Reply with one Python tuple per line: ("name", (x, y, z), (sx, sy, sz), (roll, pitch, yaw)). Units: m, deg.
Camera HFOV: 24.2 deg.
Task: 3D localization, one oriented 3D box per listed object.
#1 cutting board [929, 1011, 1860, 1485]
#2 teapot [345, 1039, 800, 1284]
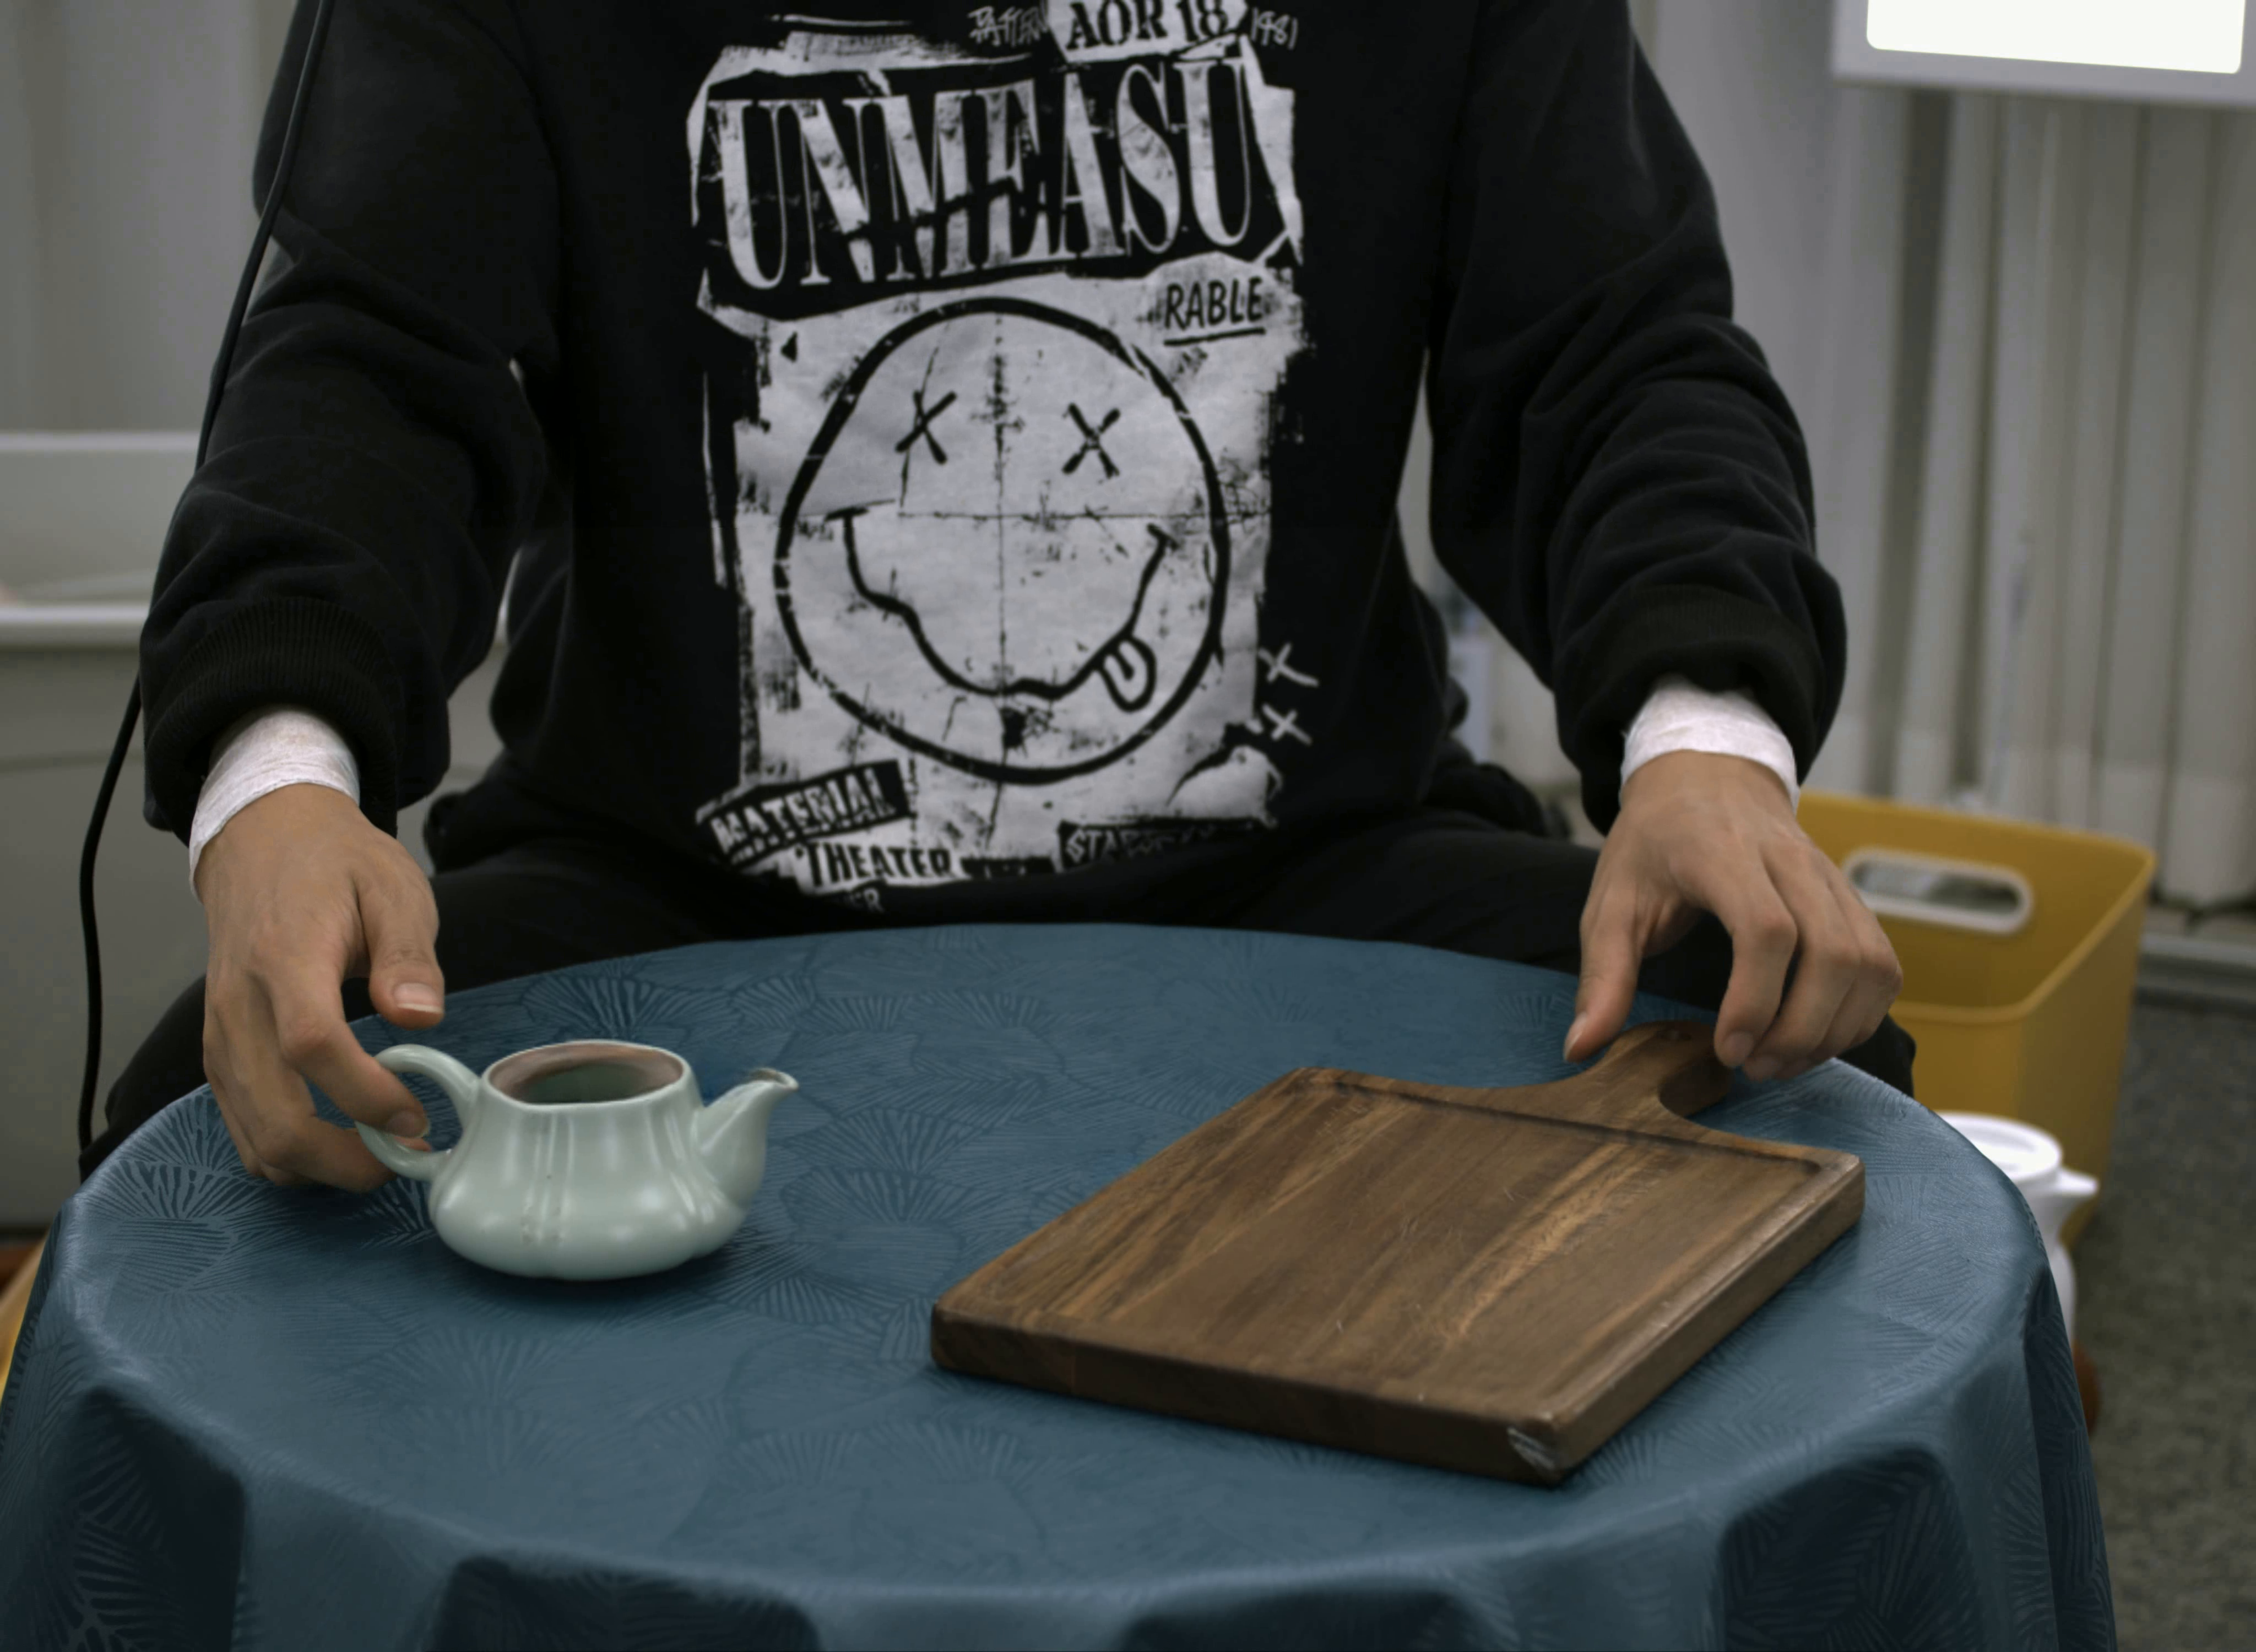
("cutting board", (0.105, 0.113, 1.581), (0.199, 0.023, 0.353), (8, 17, 25))
("teapot", (-0.164, 0.098, 1.557), (0.136, 0.062, 0.096), (2, 17, 6))
